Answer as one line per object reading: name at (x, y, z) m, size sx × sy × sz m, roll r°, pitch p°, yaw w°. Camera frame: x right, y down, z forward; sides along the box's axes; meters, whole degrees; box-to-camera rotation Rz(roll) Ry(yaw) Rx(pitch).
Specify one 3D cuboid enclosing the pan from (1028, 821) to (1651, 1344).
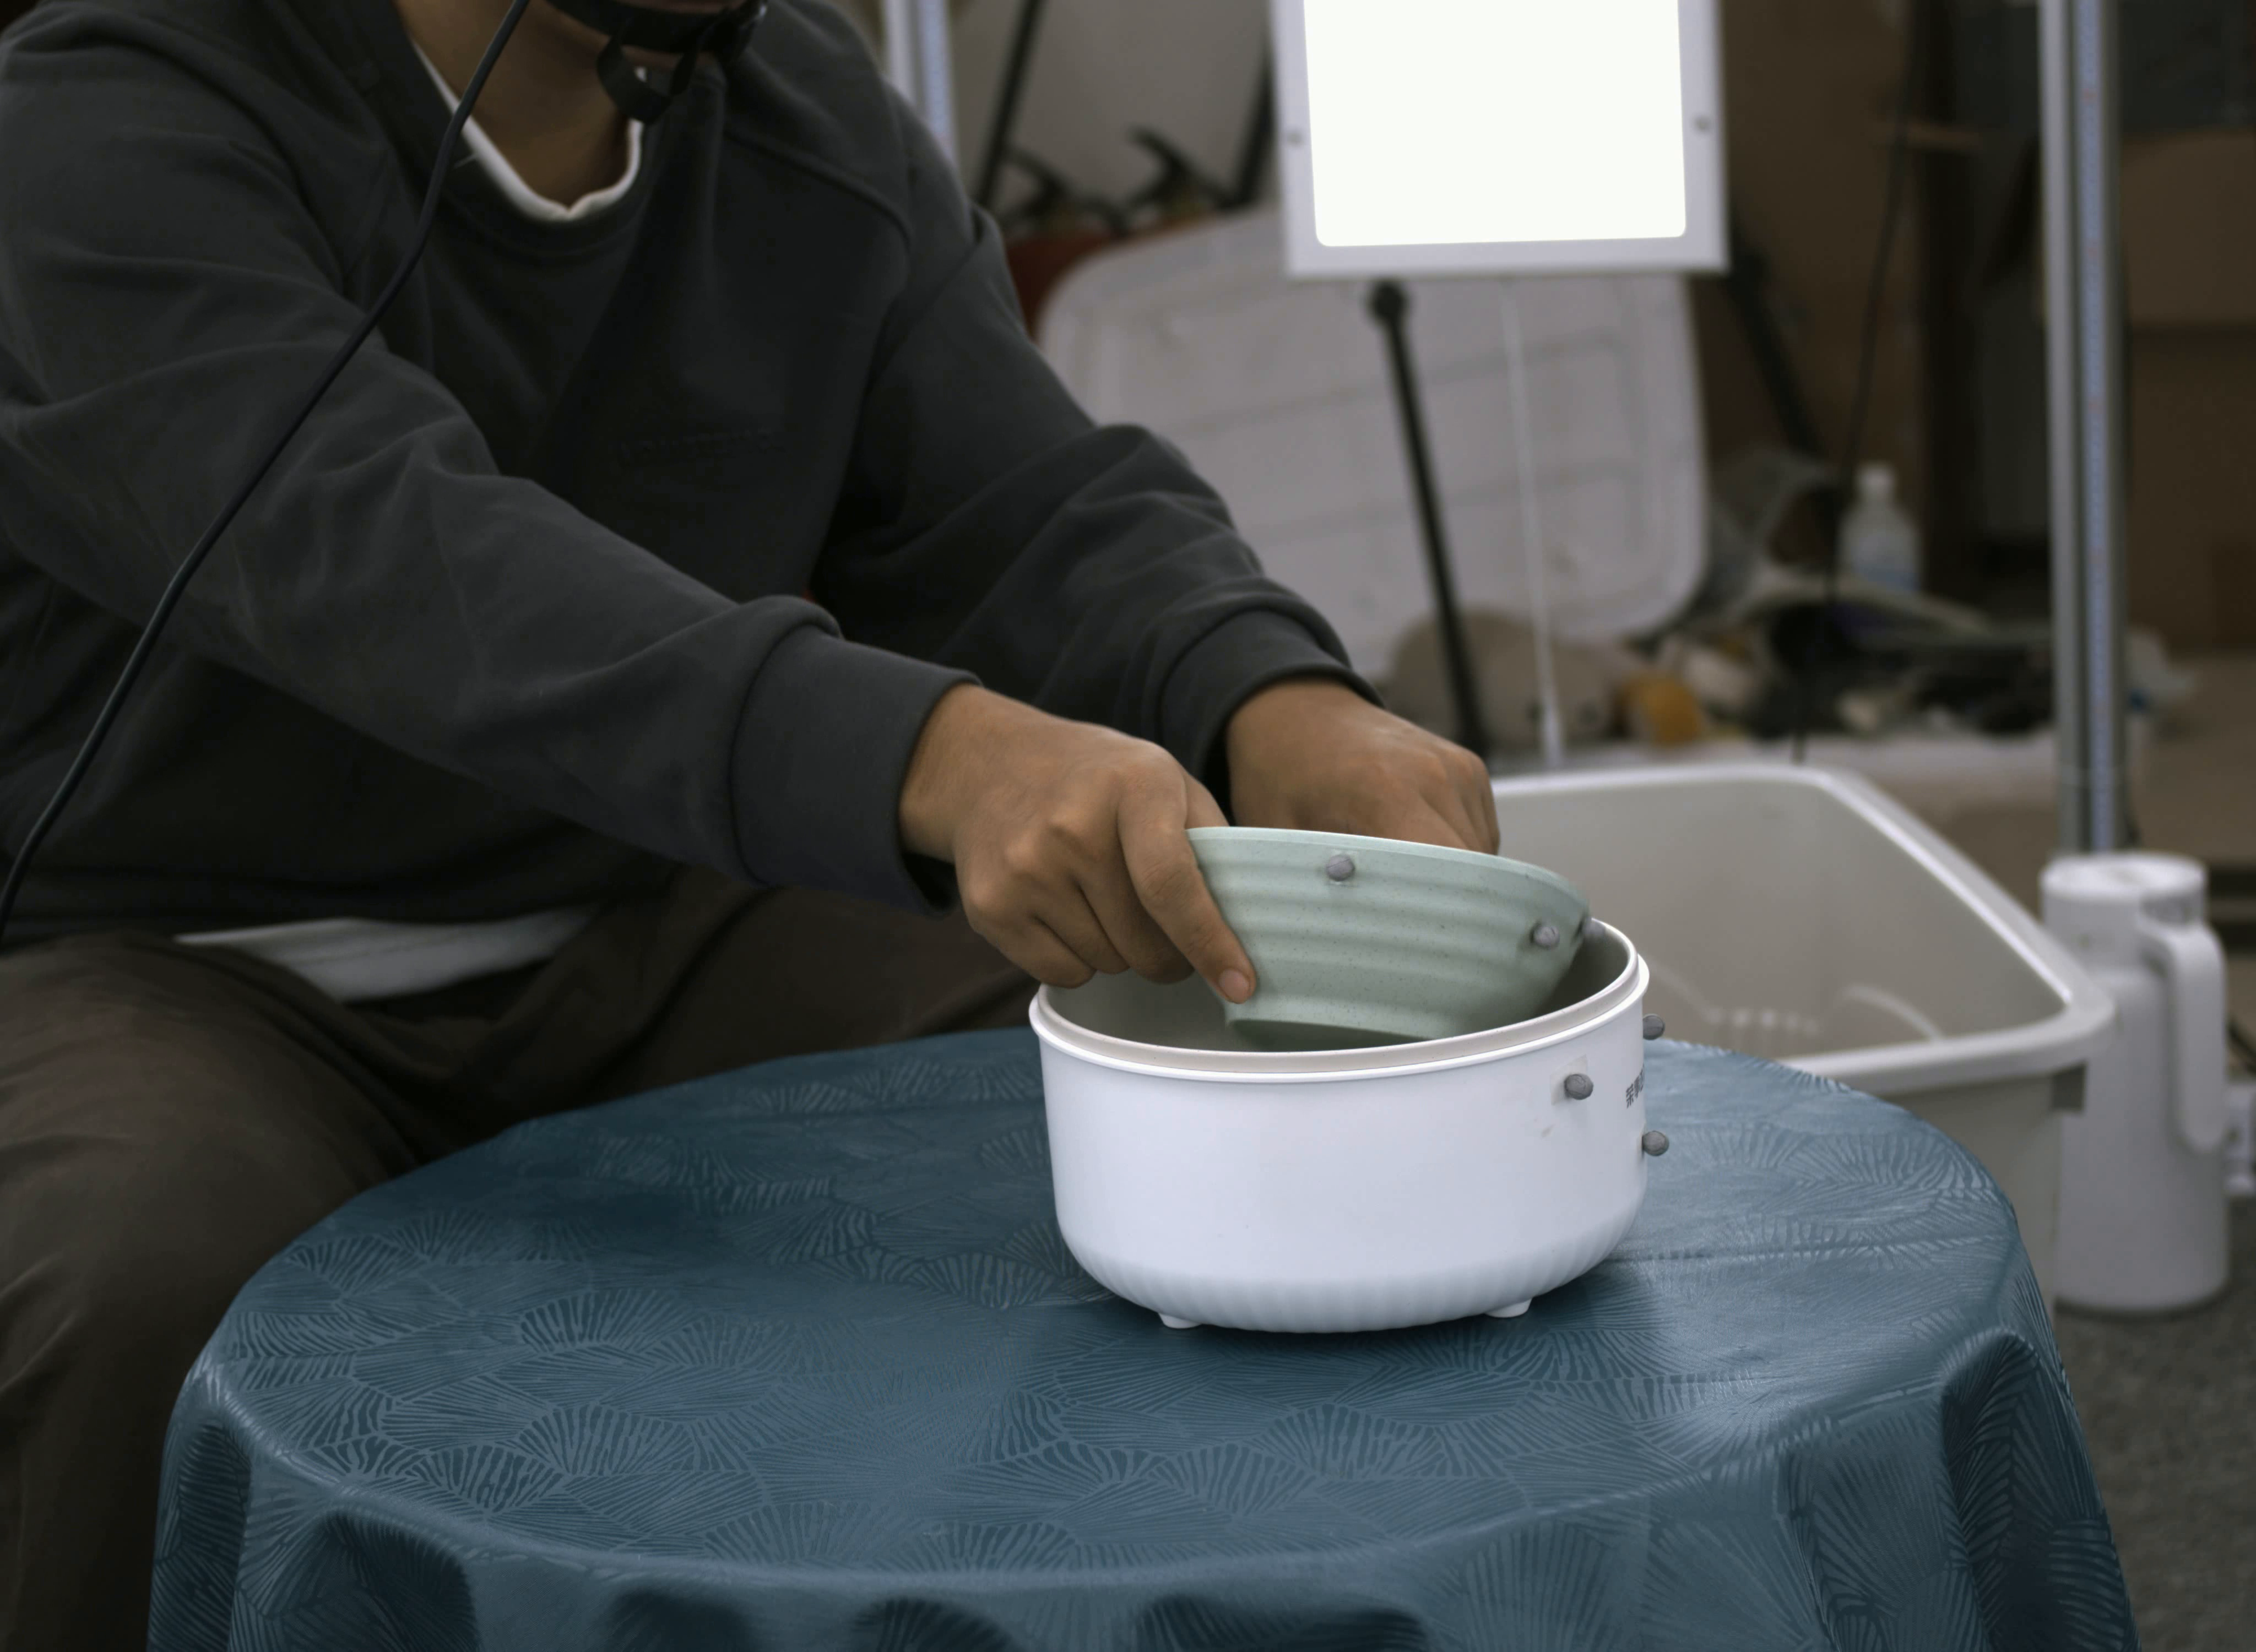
pan at (0.080, 0.083, 1.861) m, size 0.202 × 0.102 × 0.352 m, roll -5°, pitch 12°, yaw 8°

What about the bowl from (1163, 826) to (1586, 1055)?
bowl at (0.076, 0.048, 1.780) m, size 0.151 × 0.058 × 0.152 m, roll 11°, pitch -13°, yaw 1°
